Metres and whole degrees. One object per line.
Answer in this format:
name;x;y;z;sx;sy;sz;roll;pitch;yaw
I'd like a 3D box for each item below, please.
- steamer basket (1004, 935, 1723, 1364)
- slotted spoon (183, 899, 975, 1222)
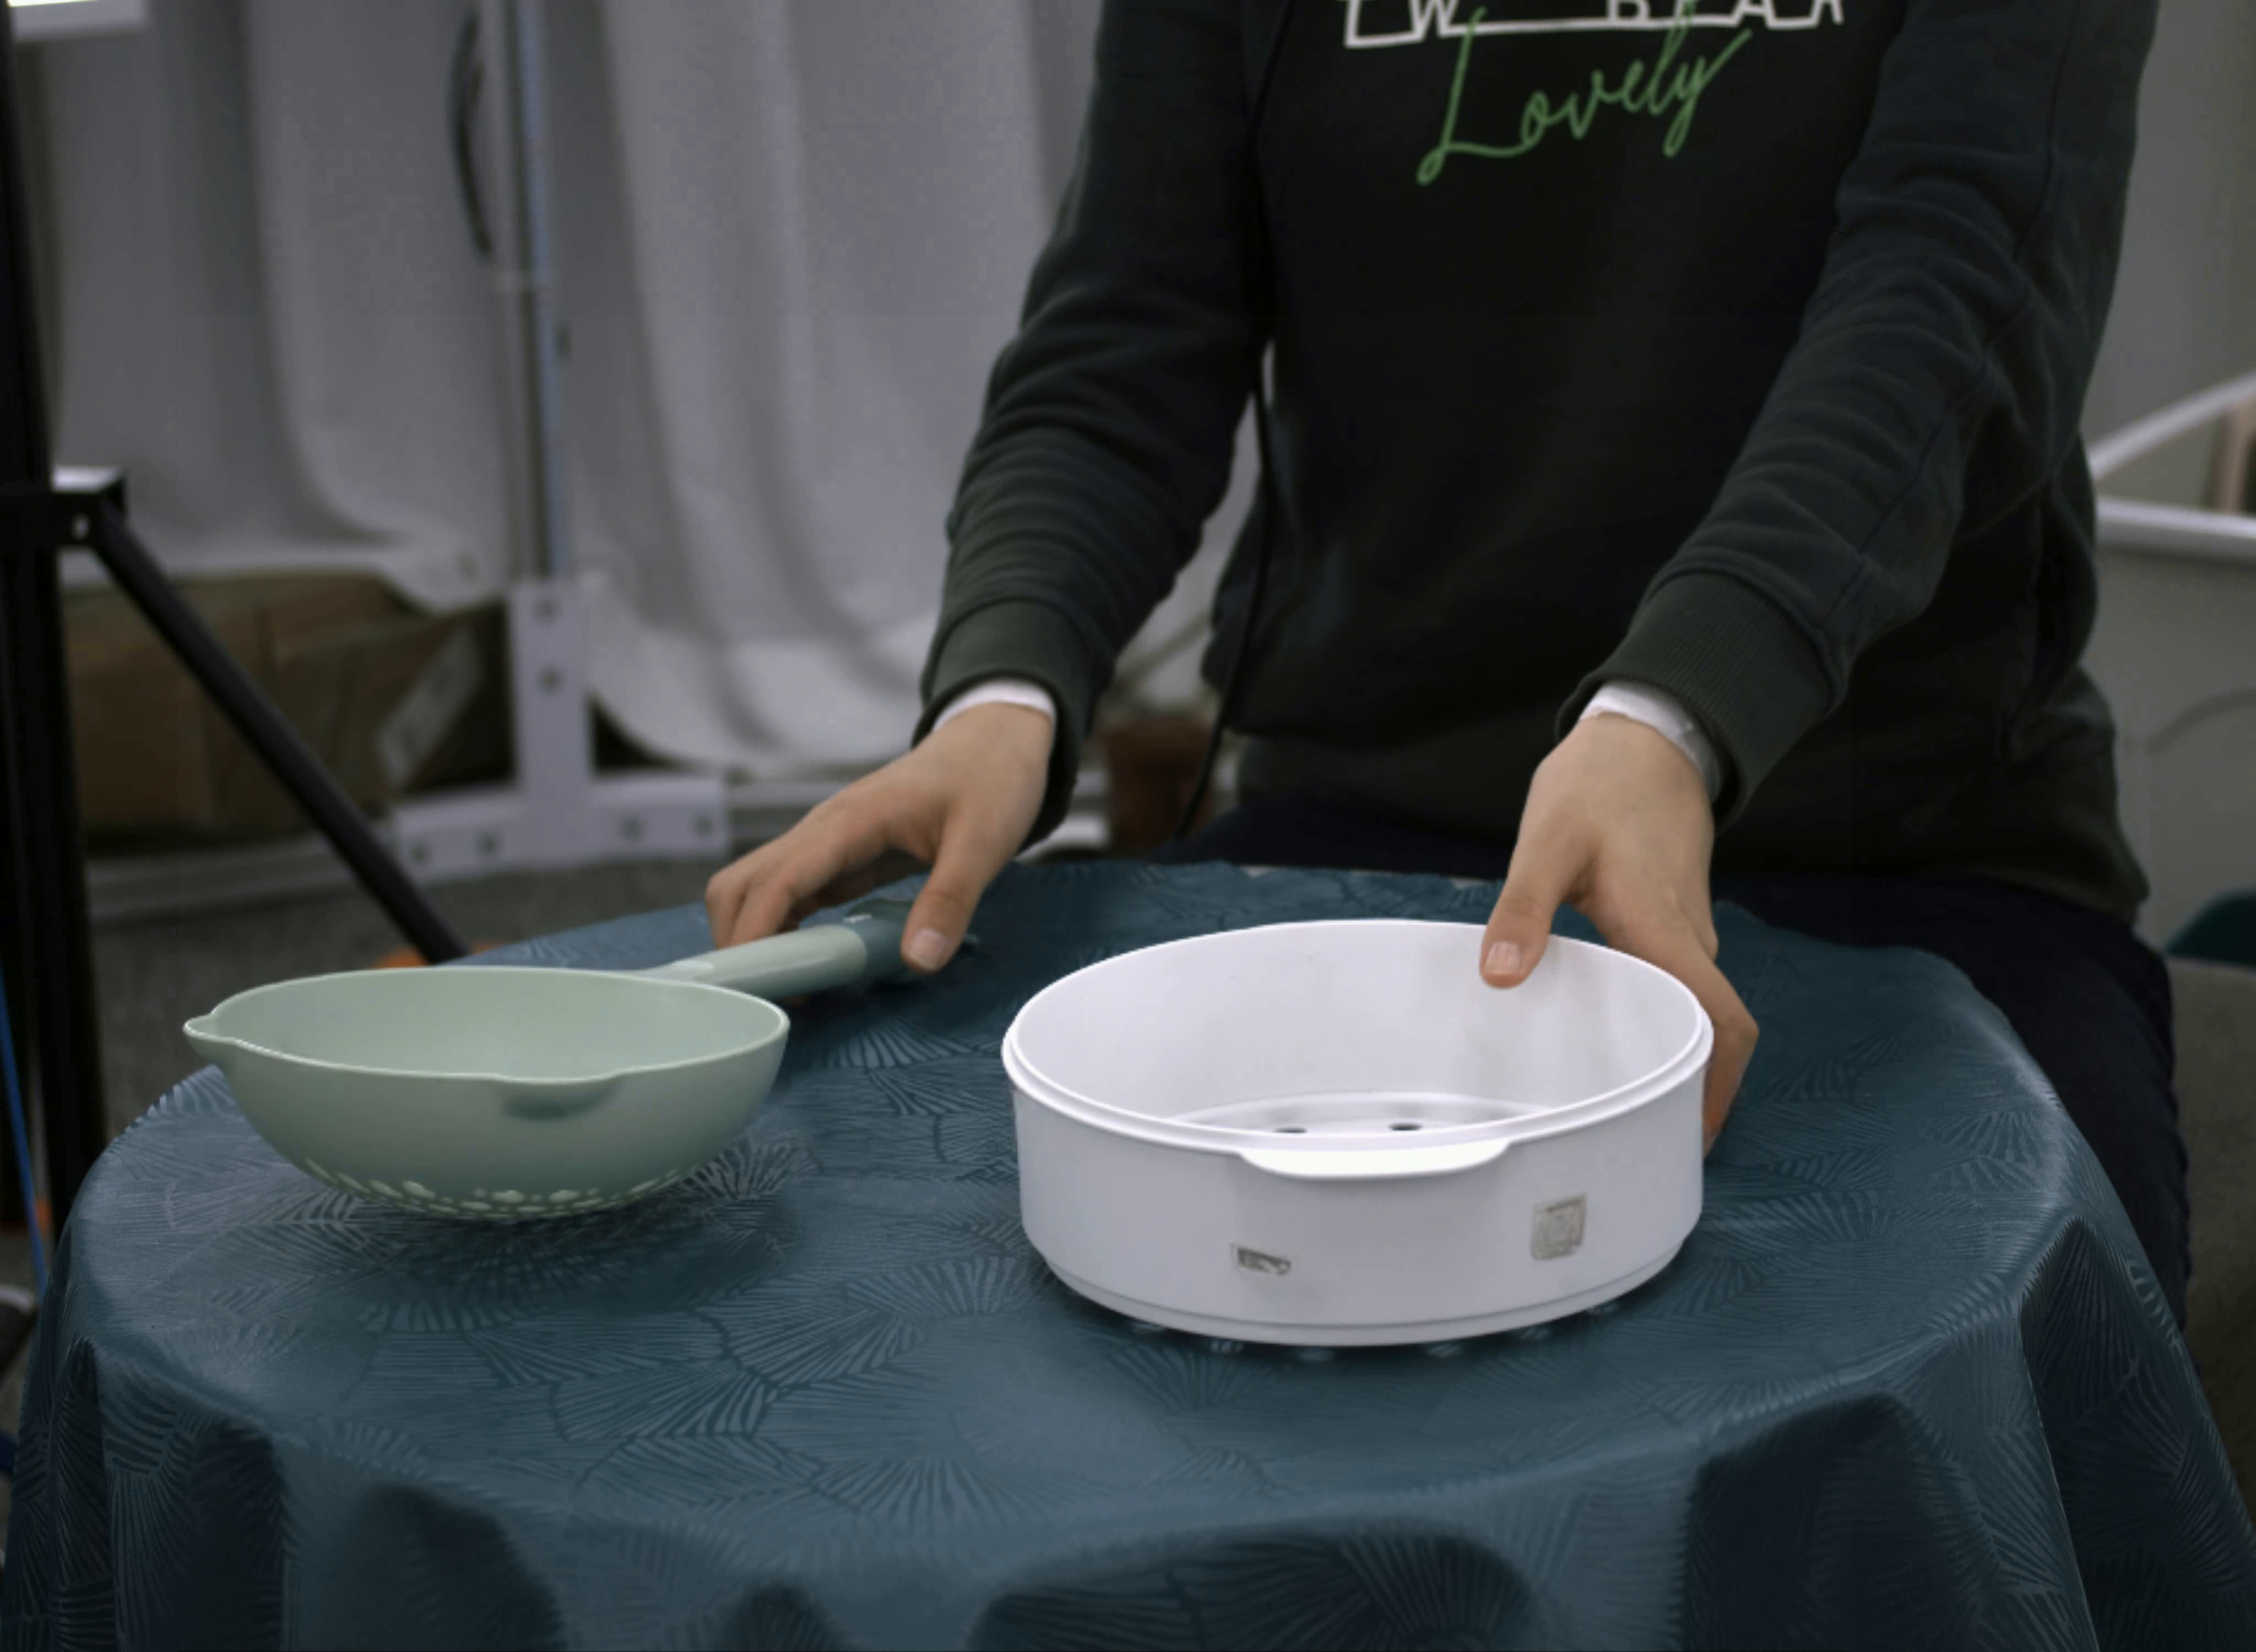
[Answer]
steamer basket;0.066;0.090;1.493;0.201;0.069;0.231;-2;15;0
slotted spoon;-0.139;0.057;1.645;0.172;0.075;0.353;6;18;27
